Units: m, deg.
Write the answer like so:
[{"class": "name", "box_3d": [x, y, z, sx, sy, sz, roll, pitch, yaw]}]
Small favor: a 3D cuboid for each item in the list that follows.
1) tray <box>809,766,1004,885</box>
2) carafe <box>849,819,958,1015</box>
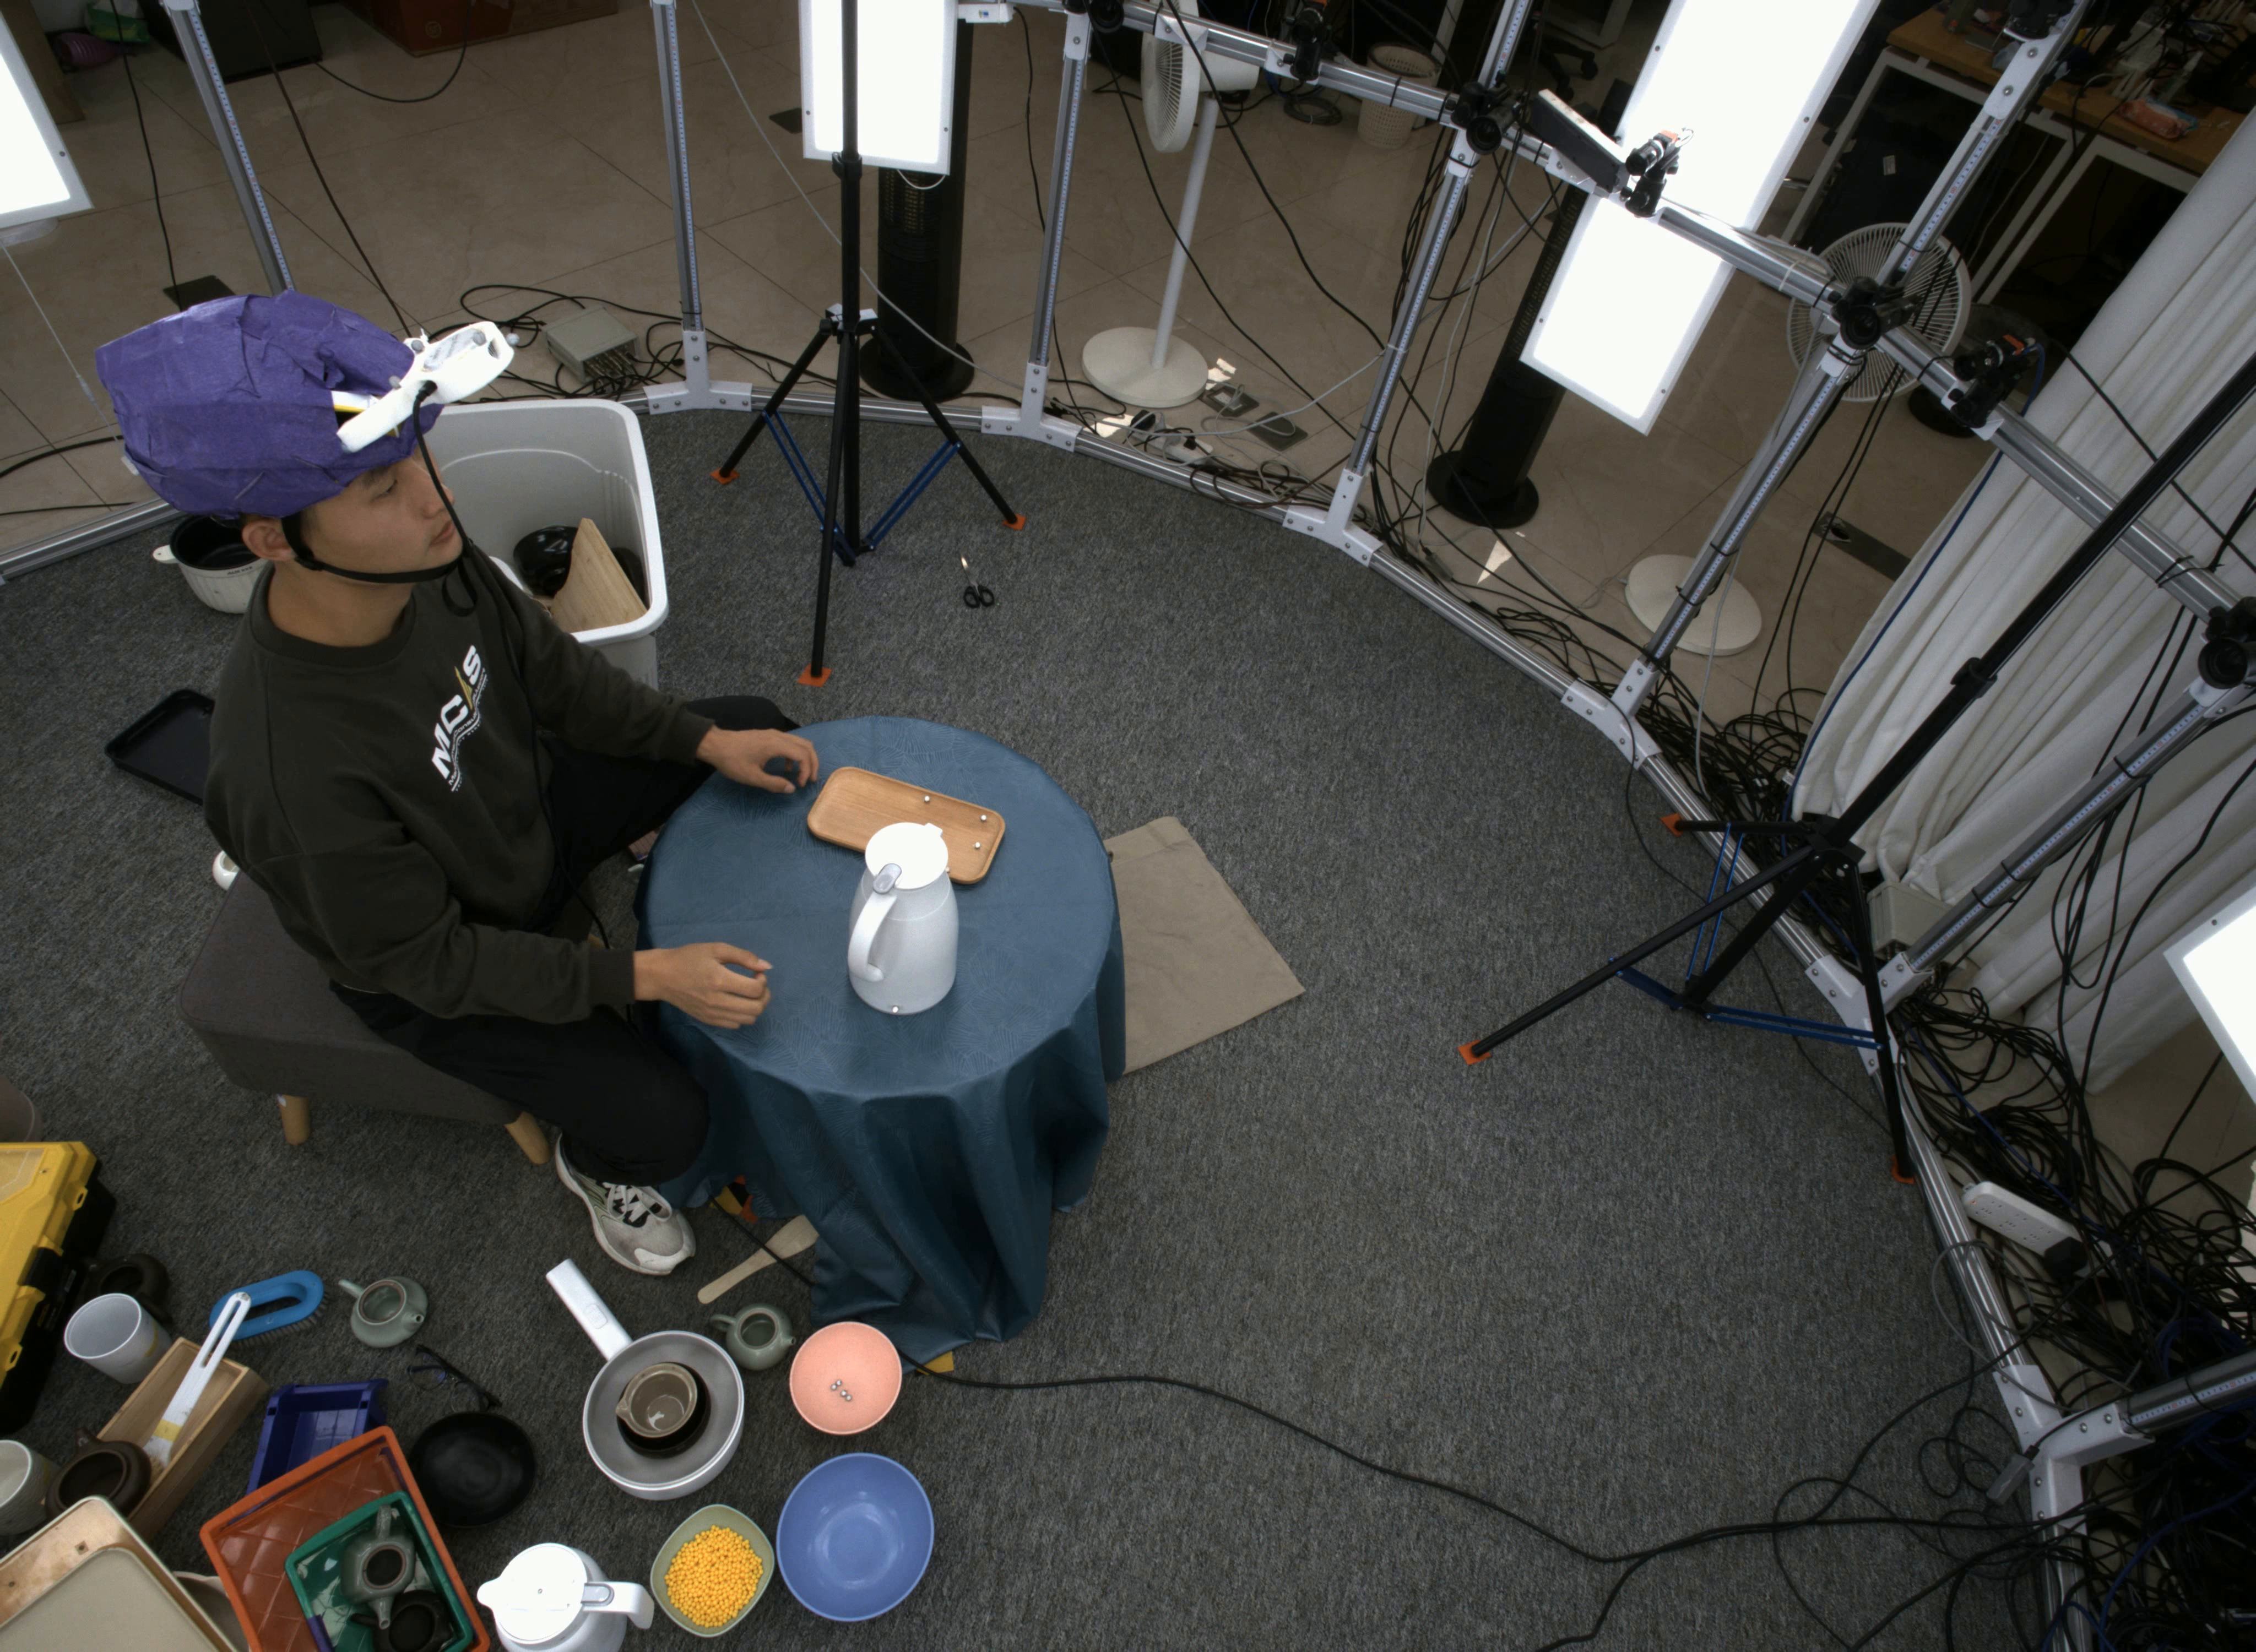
[{"class": "tray", "box_3d": [-0.297, -0.002, 1.757, 0.248, 0.023, 0.129, 18, 49, 2]}, {"class": "carafe", "box_3d": [-0.271, 0.114, 1.525, 0.130, 0.254, 0.167, 24, 52, 8]}]
